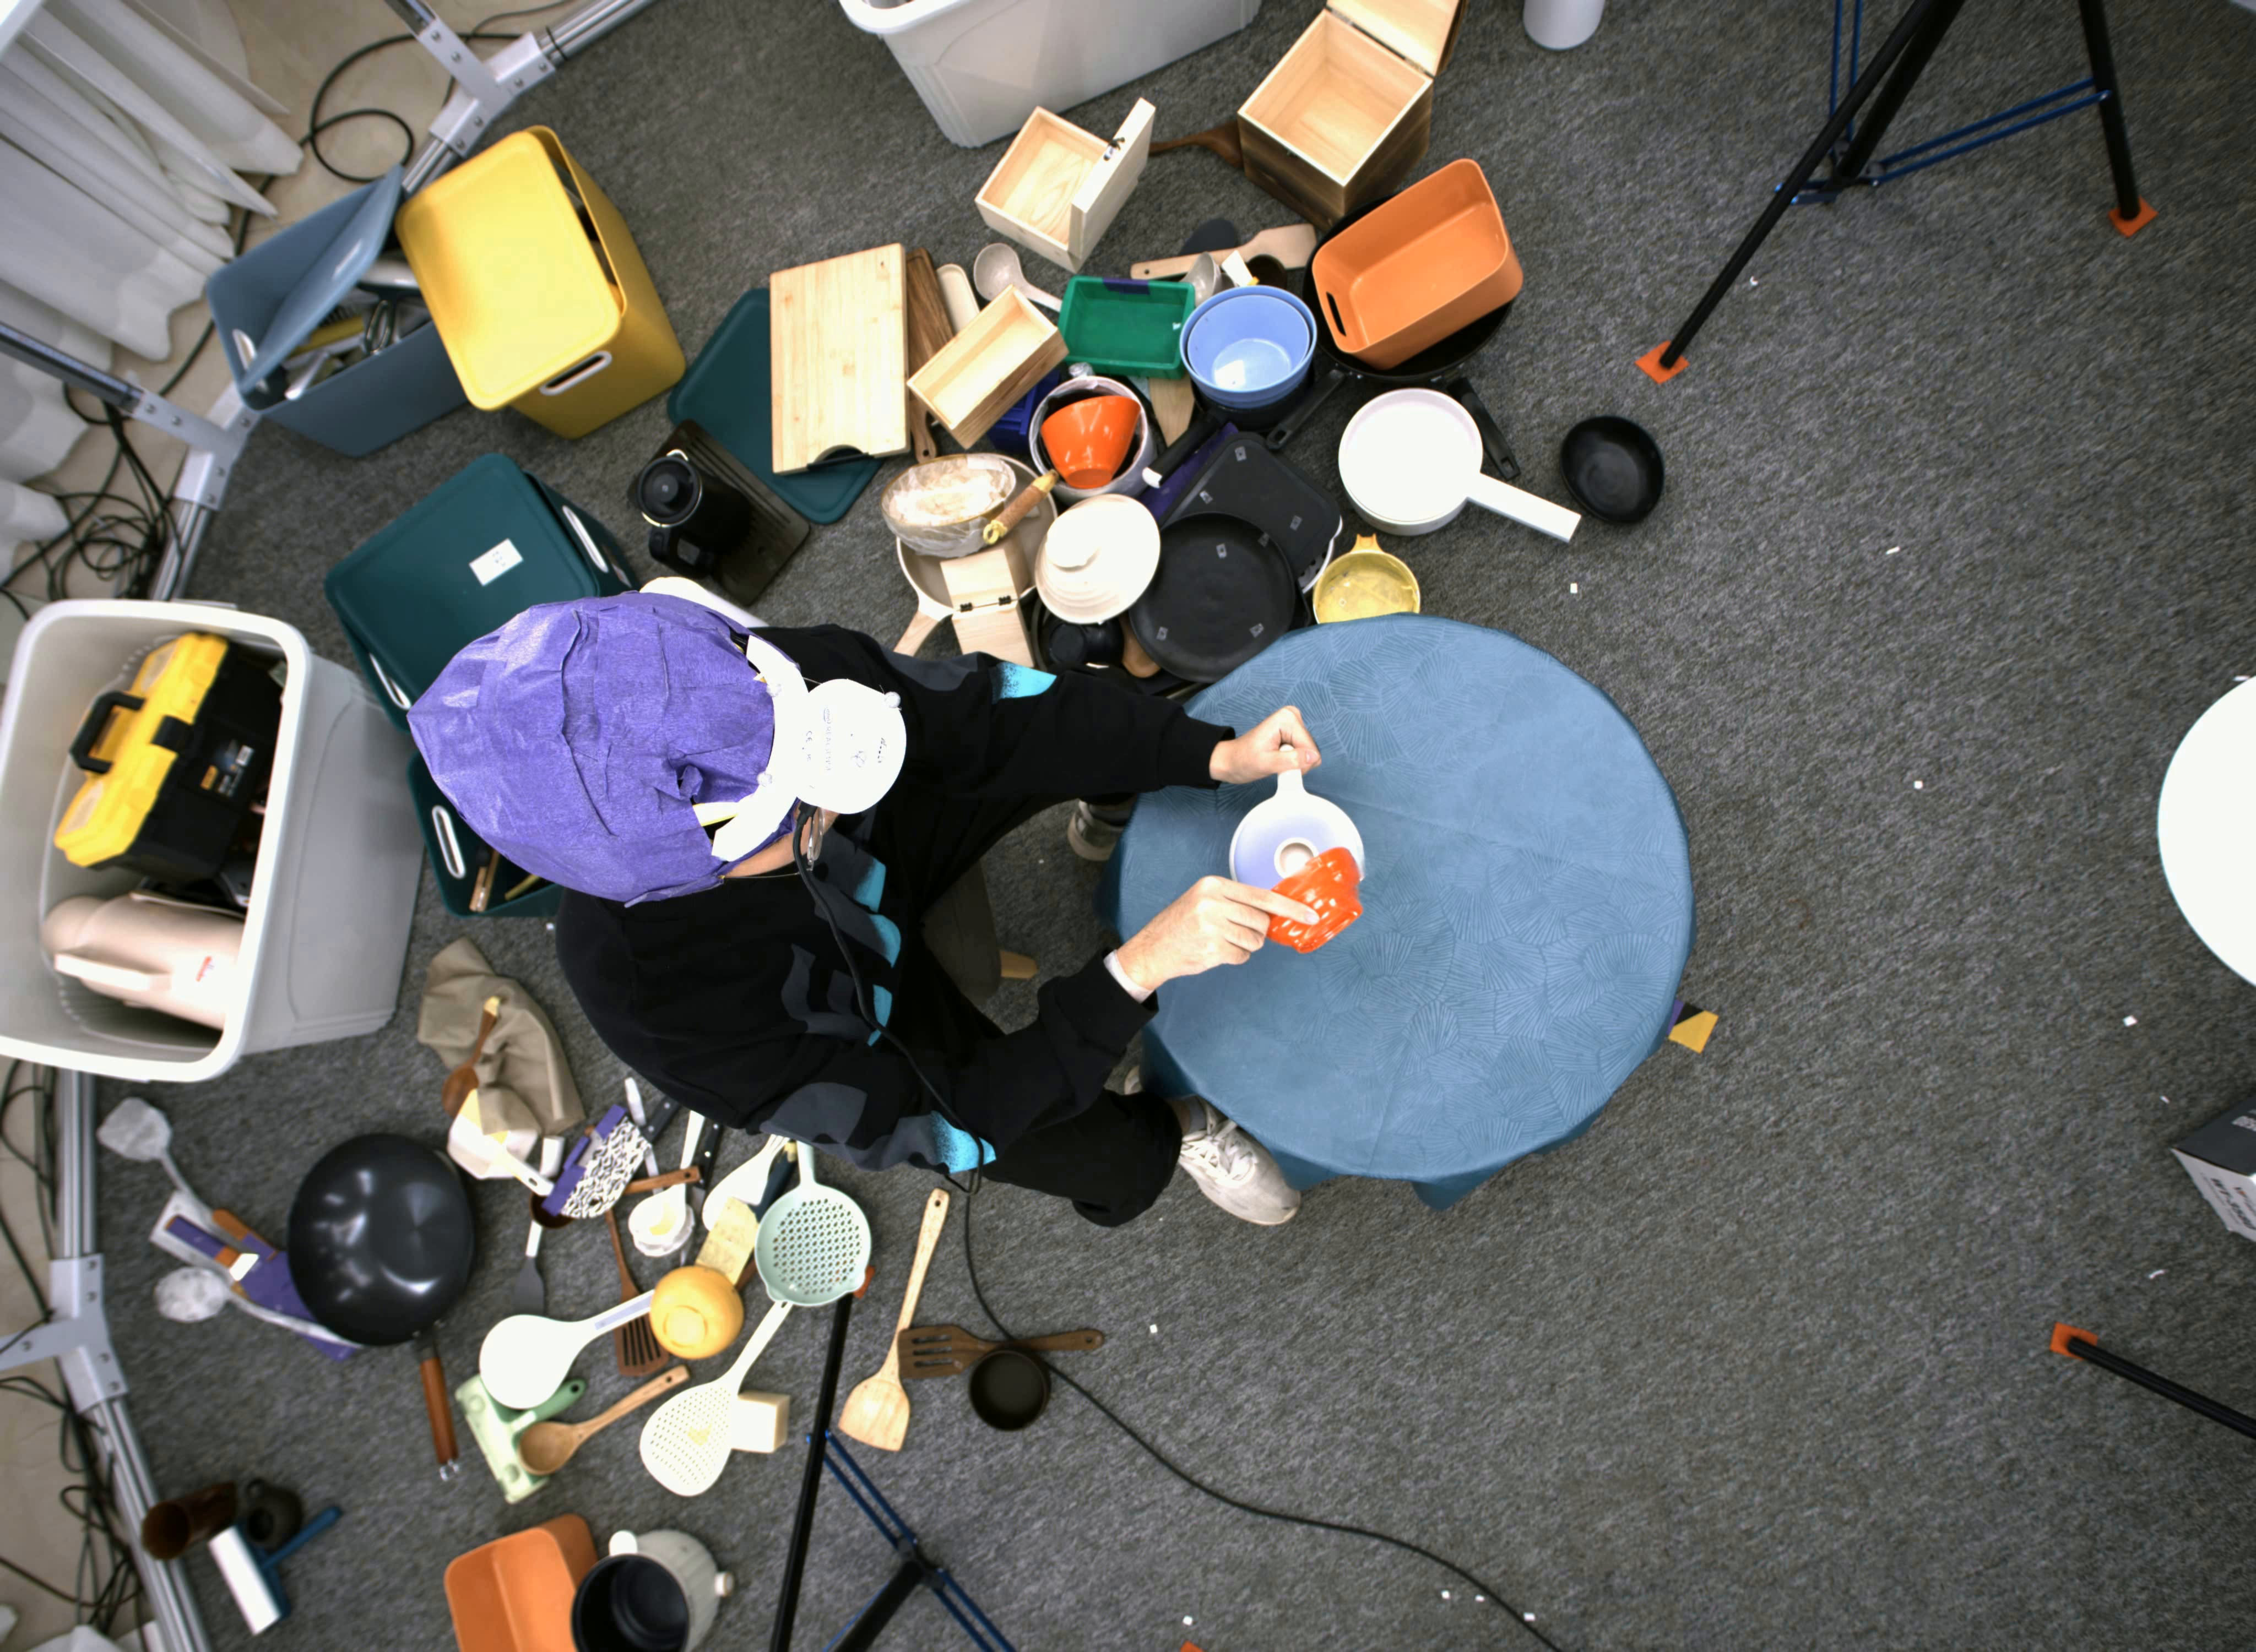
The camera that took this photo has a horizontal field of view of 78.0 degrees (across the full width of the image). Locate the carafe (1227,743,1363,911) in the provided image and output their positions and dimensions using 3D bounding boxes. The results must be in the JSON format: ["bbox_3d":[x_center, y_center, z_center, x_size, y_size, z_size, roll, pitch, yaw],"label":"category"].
[{"bbox_3d":[0.163,0.010,1.385,0.132,0.182,0.190,-7,87,6],"label":"carafe"}]

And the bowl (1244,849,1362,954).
[{"bbox_3d":[0.162,0.072,1.211,0.119,0.119,0.051,-34,75,5],"label":"bowl"}]
